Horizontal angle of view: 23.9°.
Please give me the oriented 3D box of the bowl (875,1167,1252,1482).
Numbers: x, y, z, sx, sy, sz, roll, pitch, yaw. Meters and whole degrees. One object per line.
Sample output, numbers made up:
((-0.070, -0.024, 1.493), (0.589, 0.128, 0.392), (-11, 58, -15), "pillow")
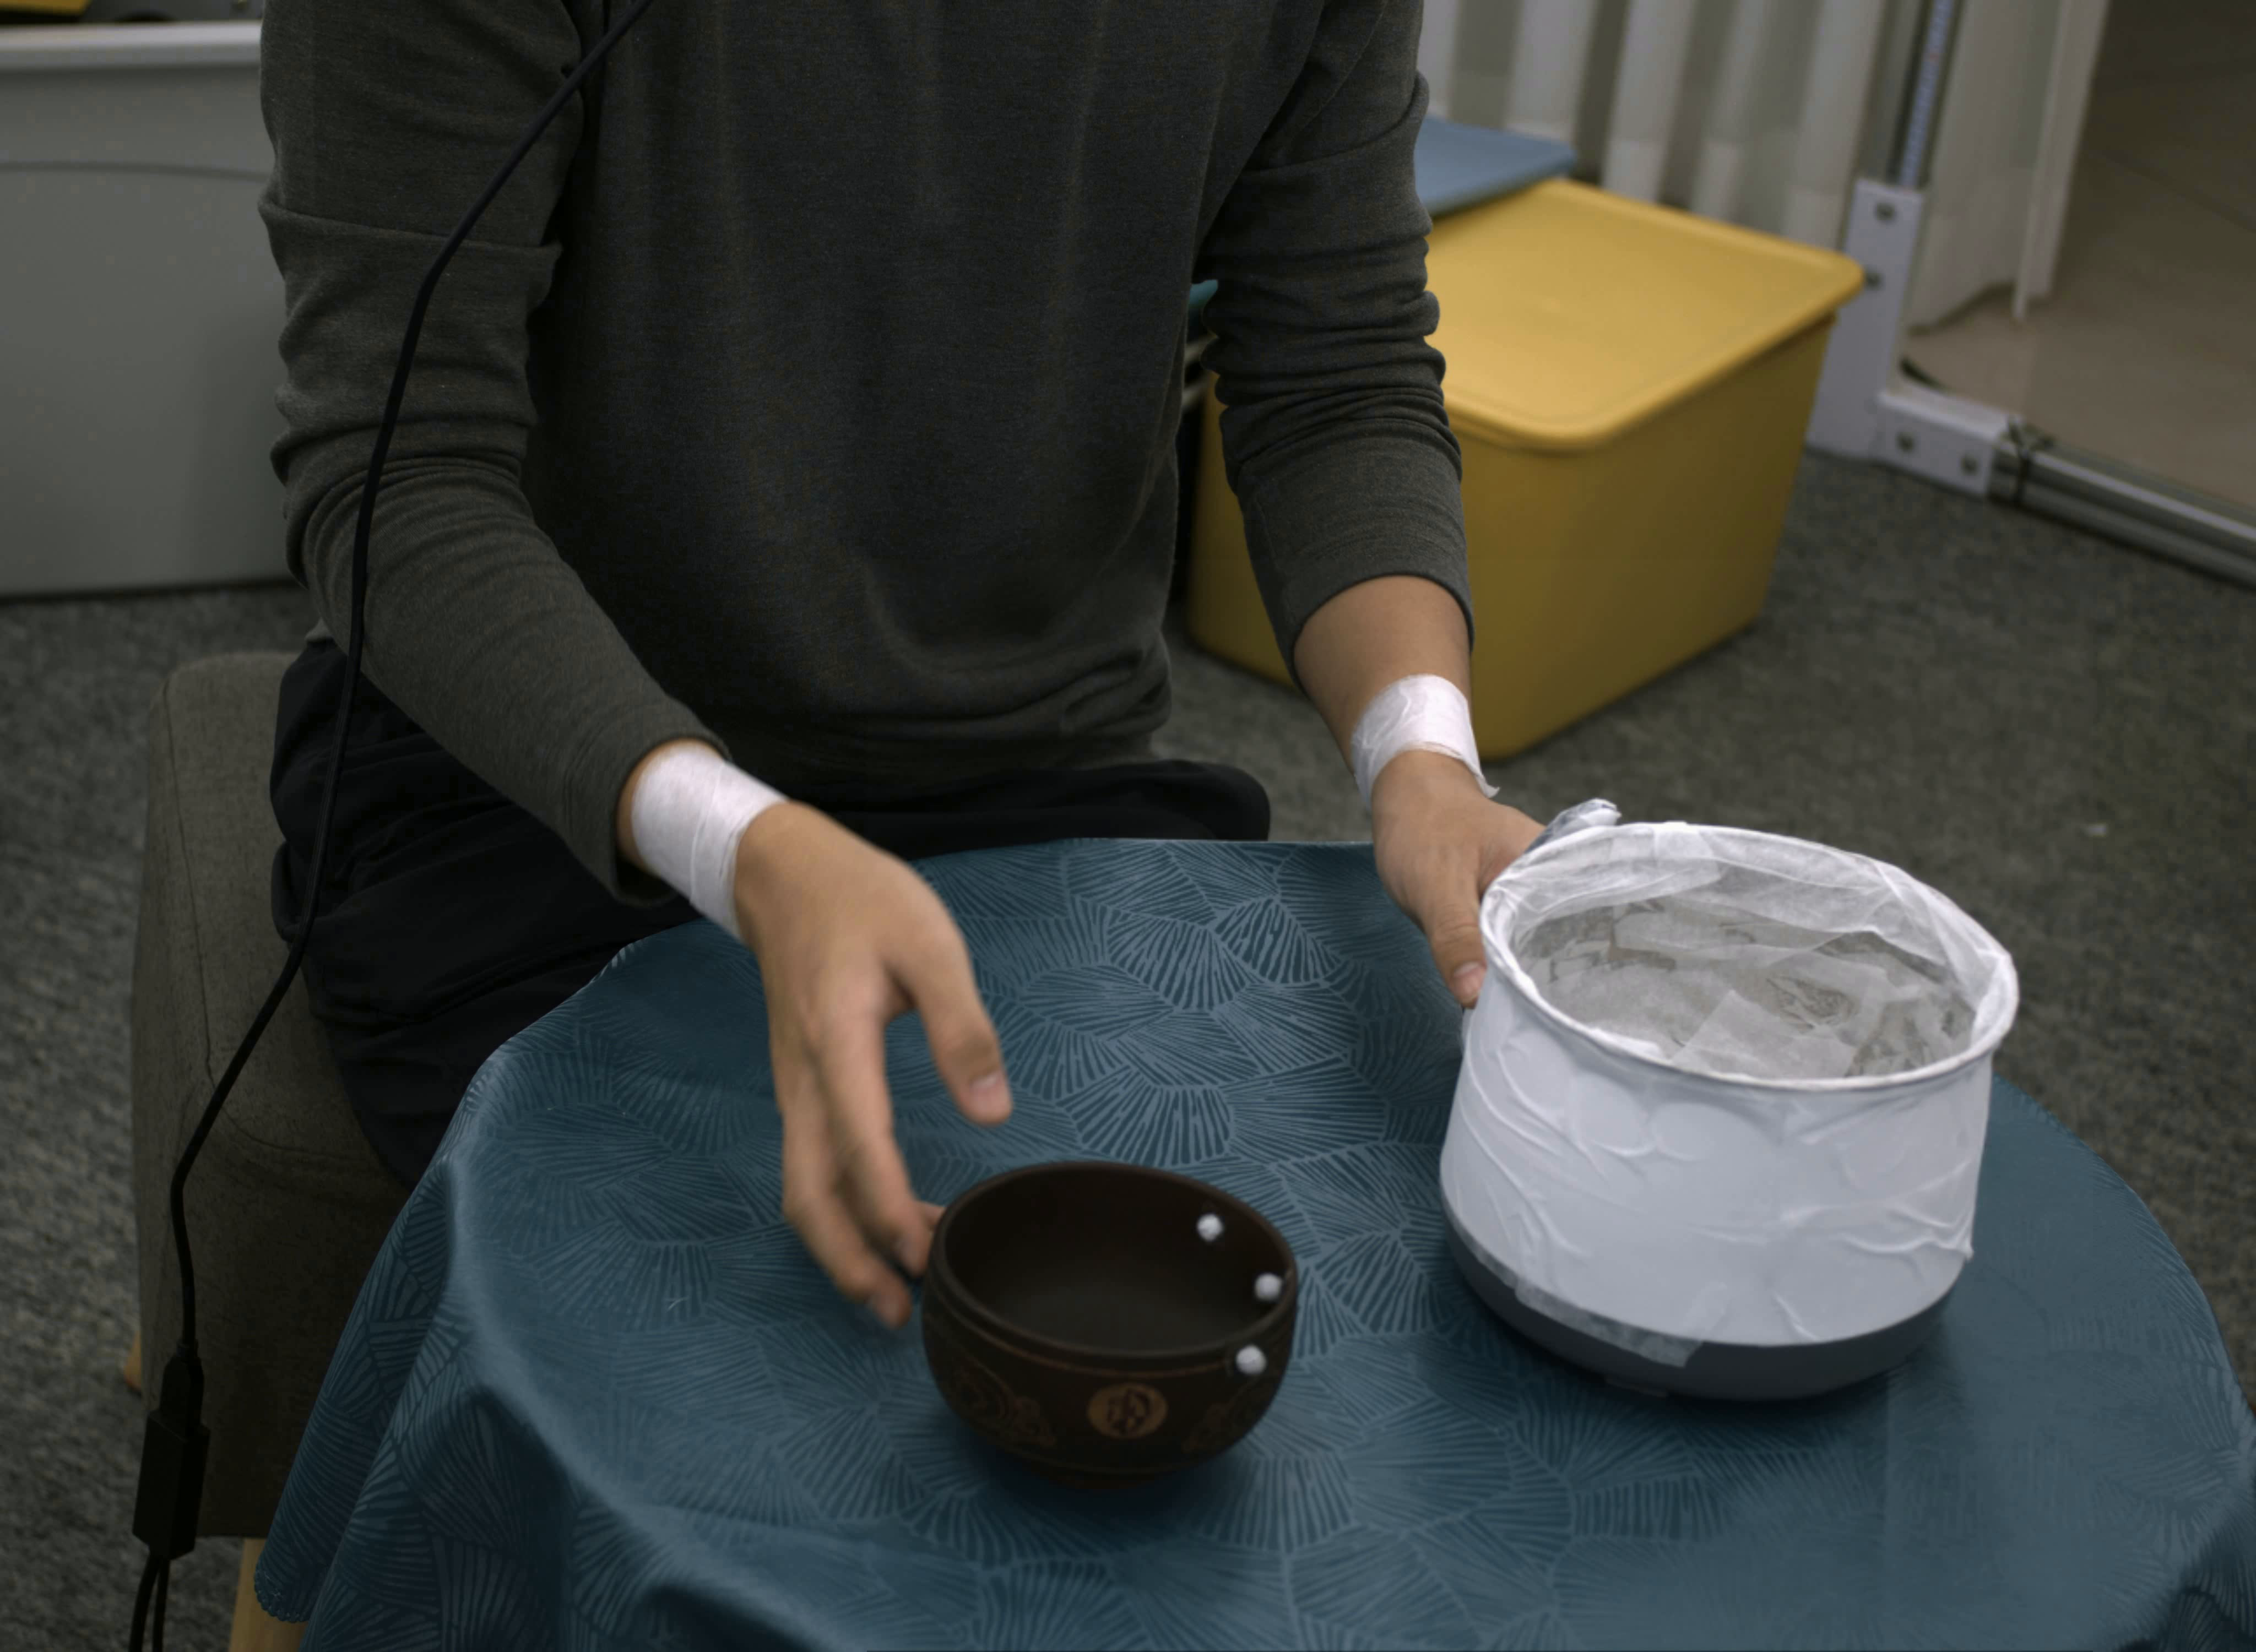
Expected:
((-0.021, 0.161, 1.658), (0.117, 0.070, 0.118), (3, 20, -1), "bowl")

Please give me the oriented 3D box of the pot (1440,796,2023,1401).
((0.182, 0.083, 1.775), (0.177, 0.136, 0.236), (-7, 29, -26), "pot")
